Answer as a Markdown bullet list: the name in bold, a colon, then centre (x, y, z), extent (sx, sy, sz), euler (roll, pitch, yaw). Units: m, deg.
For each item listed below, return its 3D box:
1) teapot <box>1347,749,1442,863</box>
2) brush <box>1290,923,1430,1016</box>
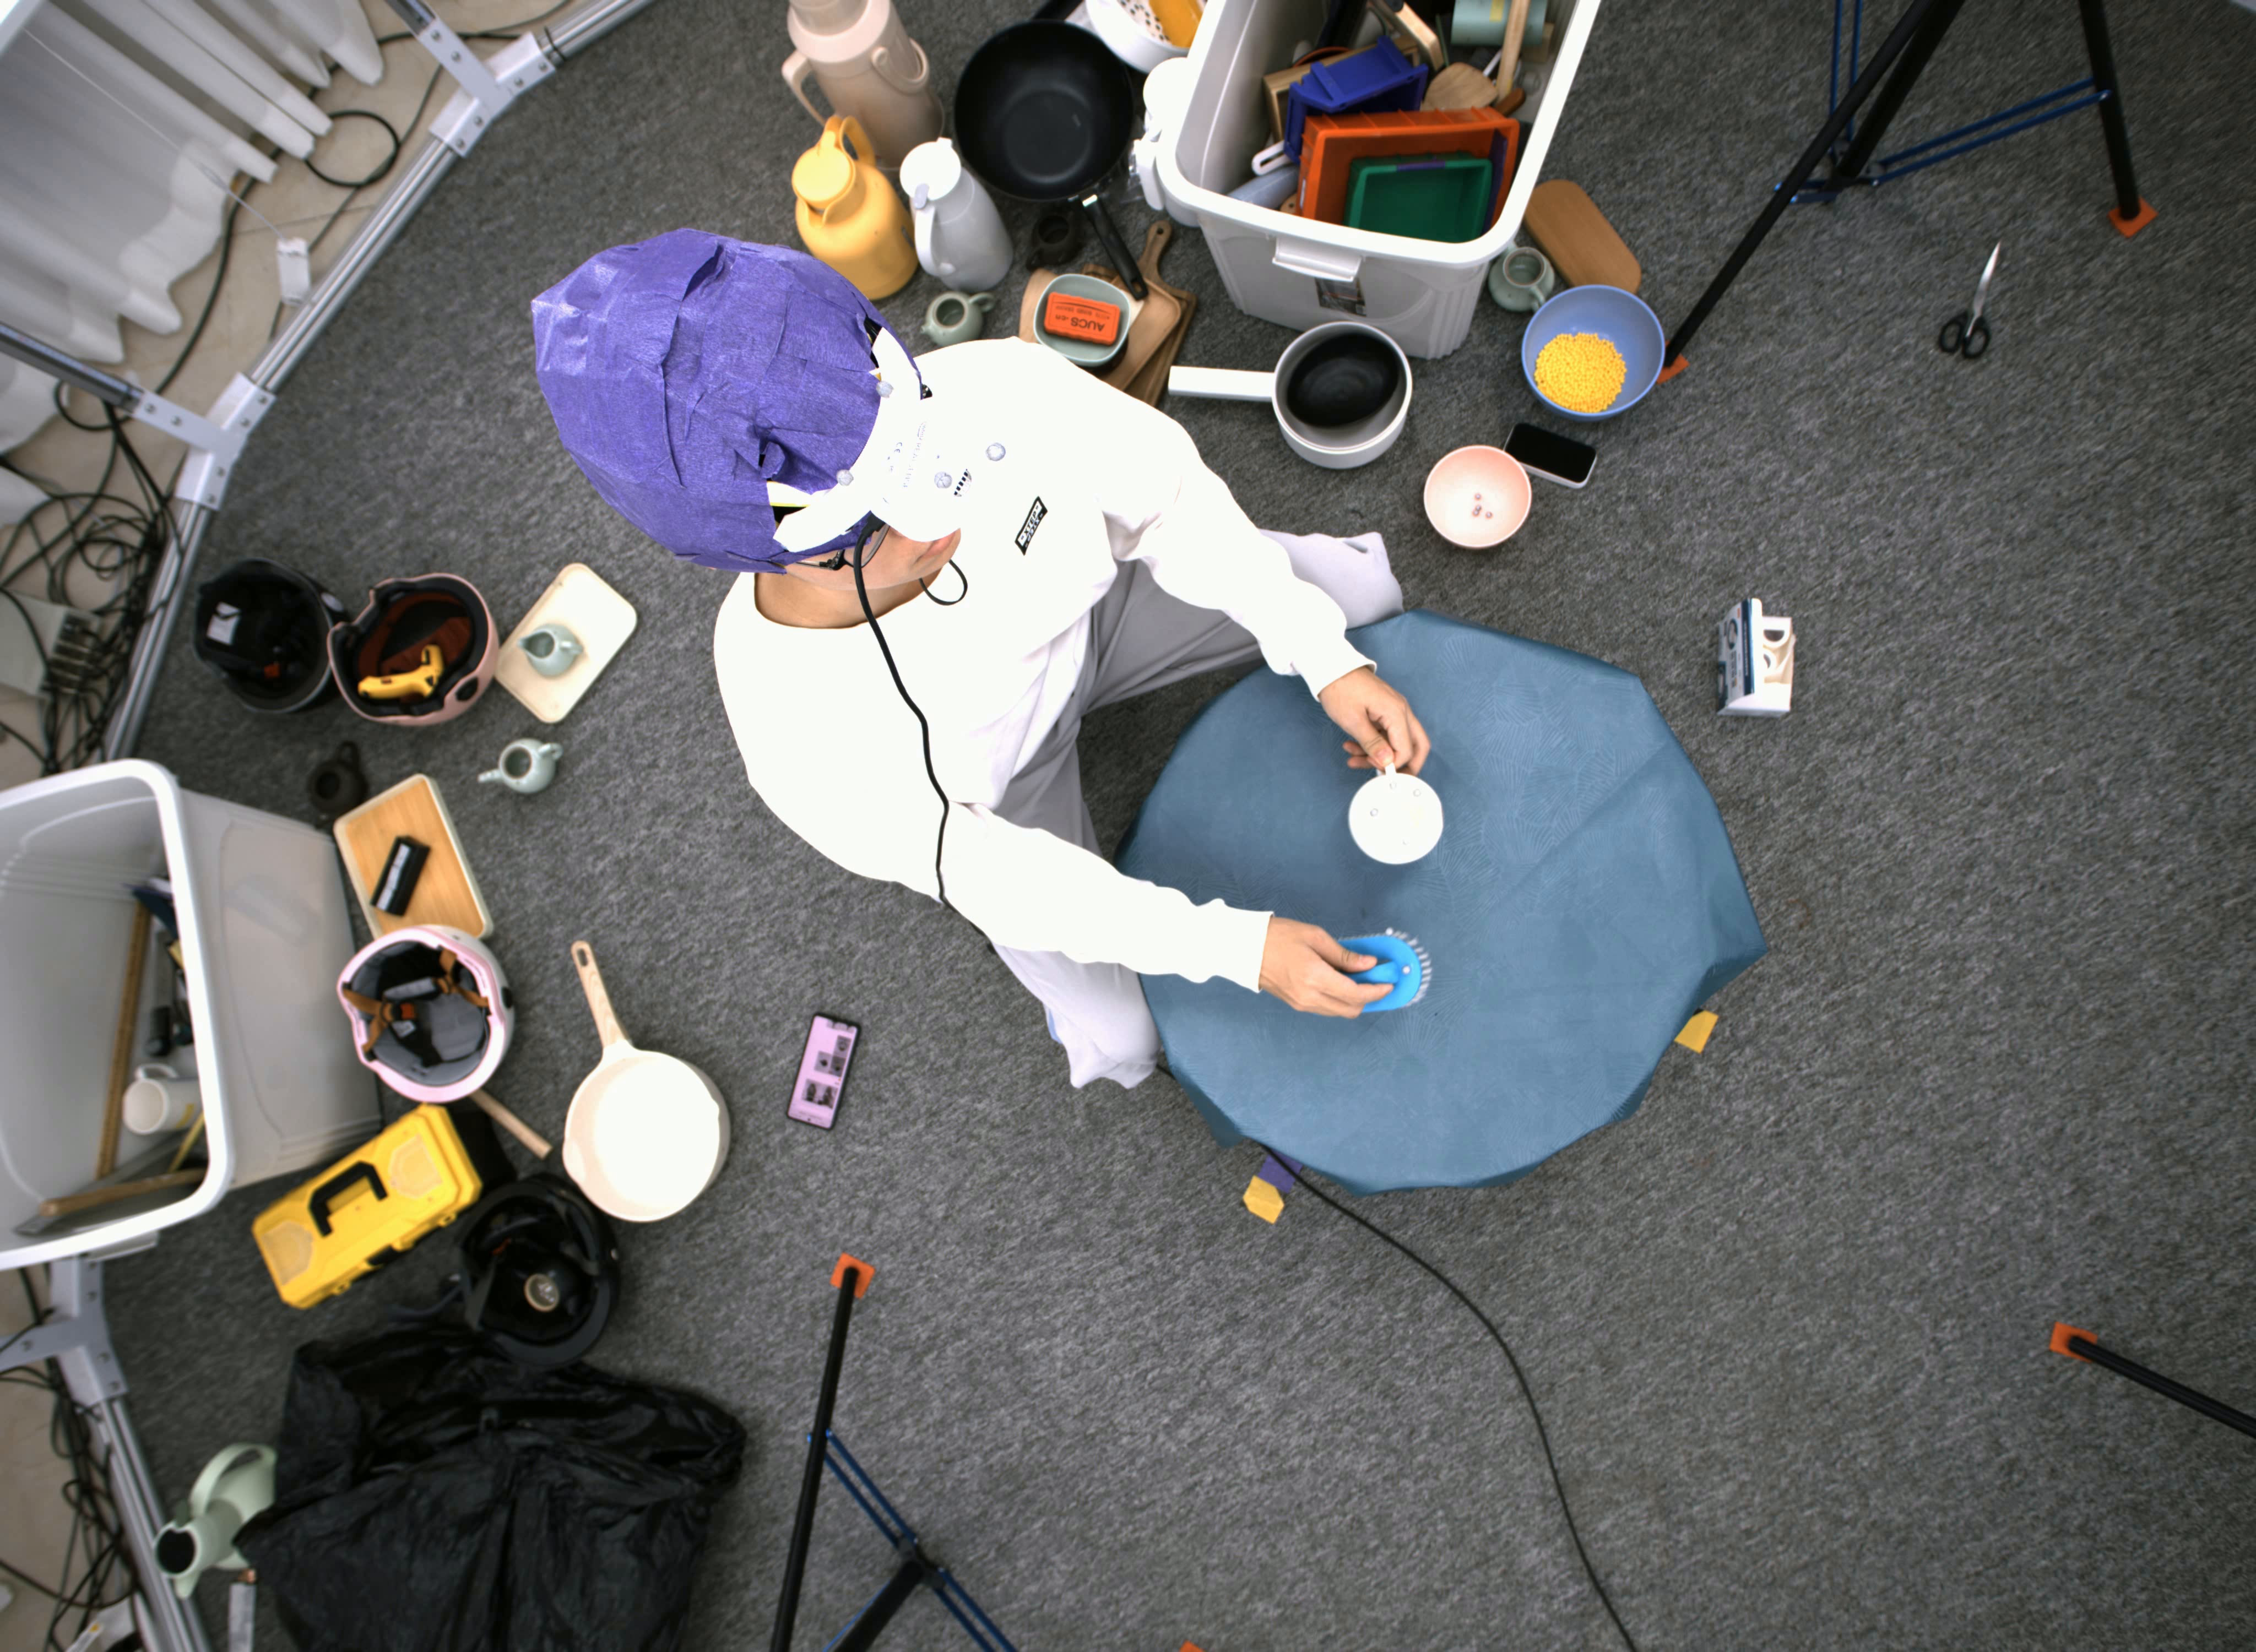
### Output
- **teapot**: centre (0.263, -0.020, 1.374), extent (0.094, 0.057, 0.125), euler (-13, 69, 4)
- **brush**: centre (0.224, 0.145, 1.366), extent (0.143, 0.063, 0.084), euler (-10, 94, 33)
